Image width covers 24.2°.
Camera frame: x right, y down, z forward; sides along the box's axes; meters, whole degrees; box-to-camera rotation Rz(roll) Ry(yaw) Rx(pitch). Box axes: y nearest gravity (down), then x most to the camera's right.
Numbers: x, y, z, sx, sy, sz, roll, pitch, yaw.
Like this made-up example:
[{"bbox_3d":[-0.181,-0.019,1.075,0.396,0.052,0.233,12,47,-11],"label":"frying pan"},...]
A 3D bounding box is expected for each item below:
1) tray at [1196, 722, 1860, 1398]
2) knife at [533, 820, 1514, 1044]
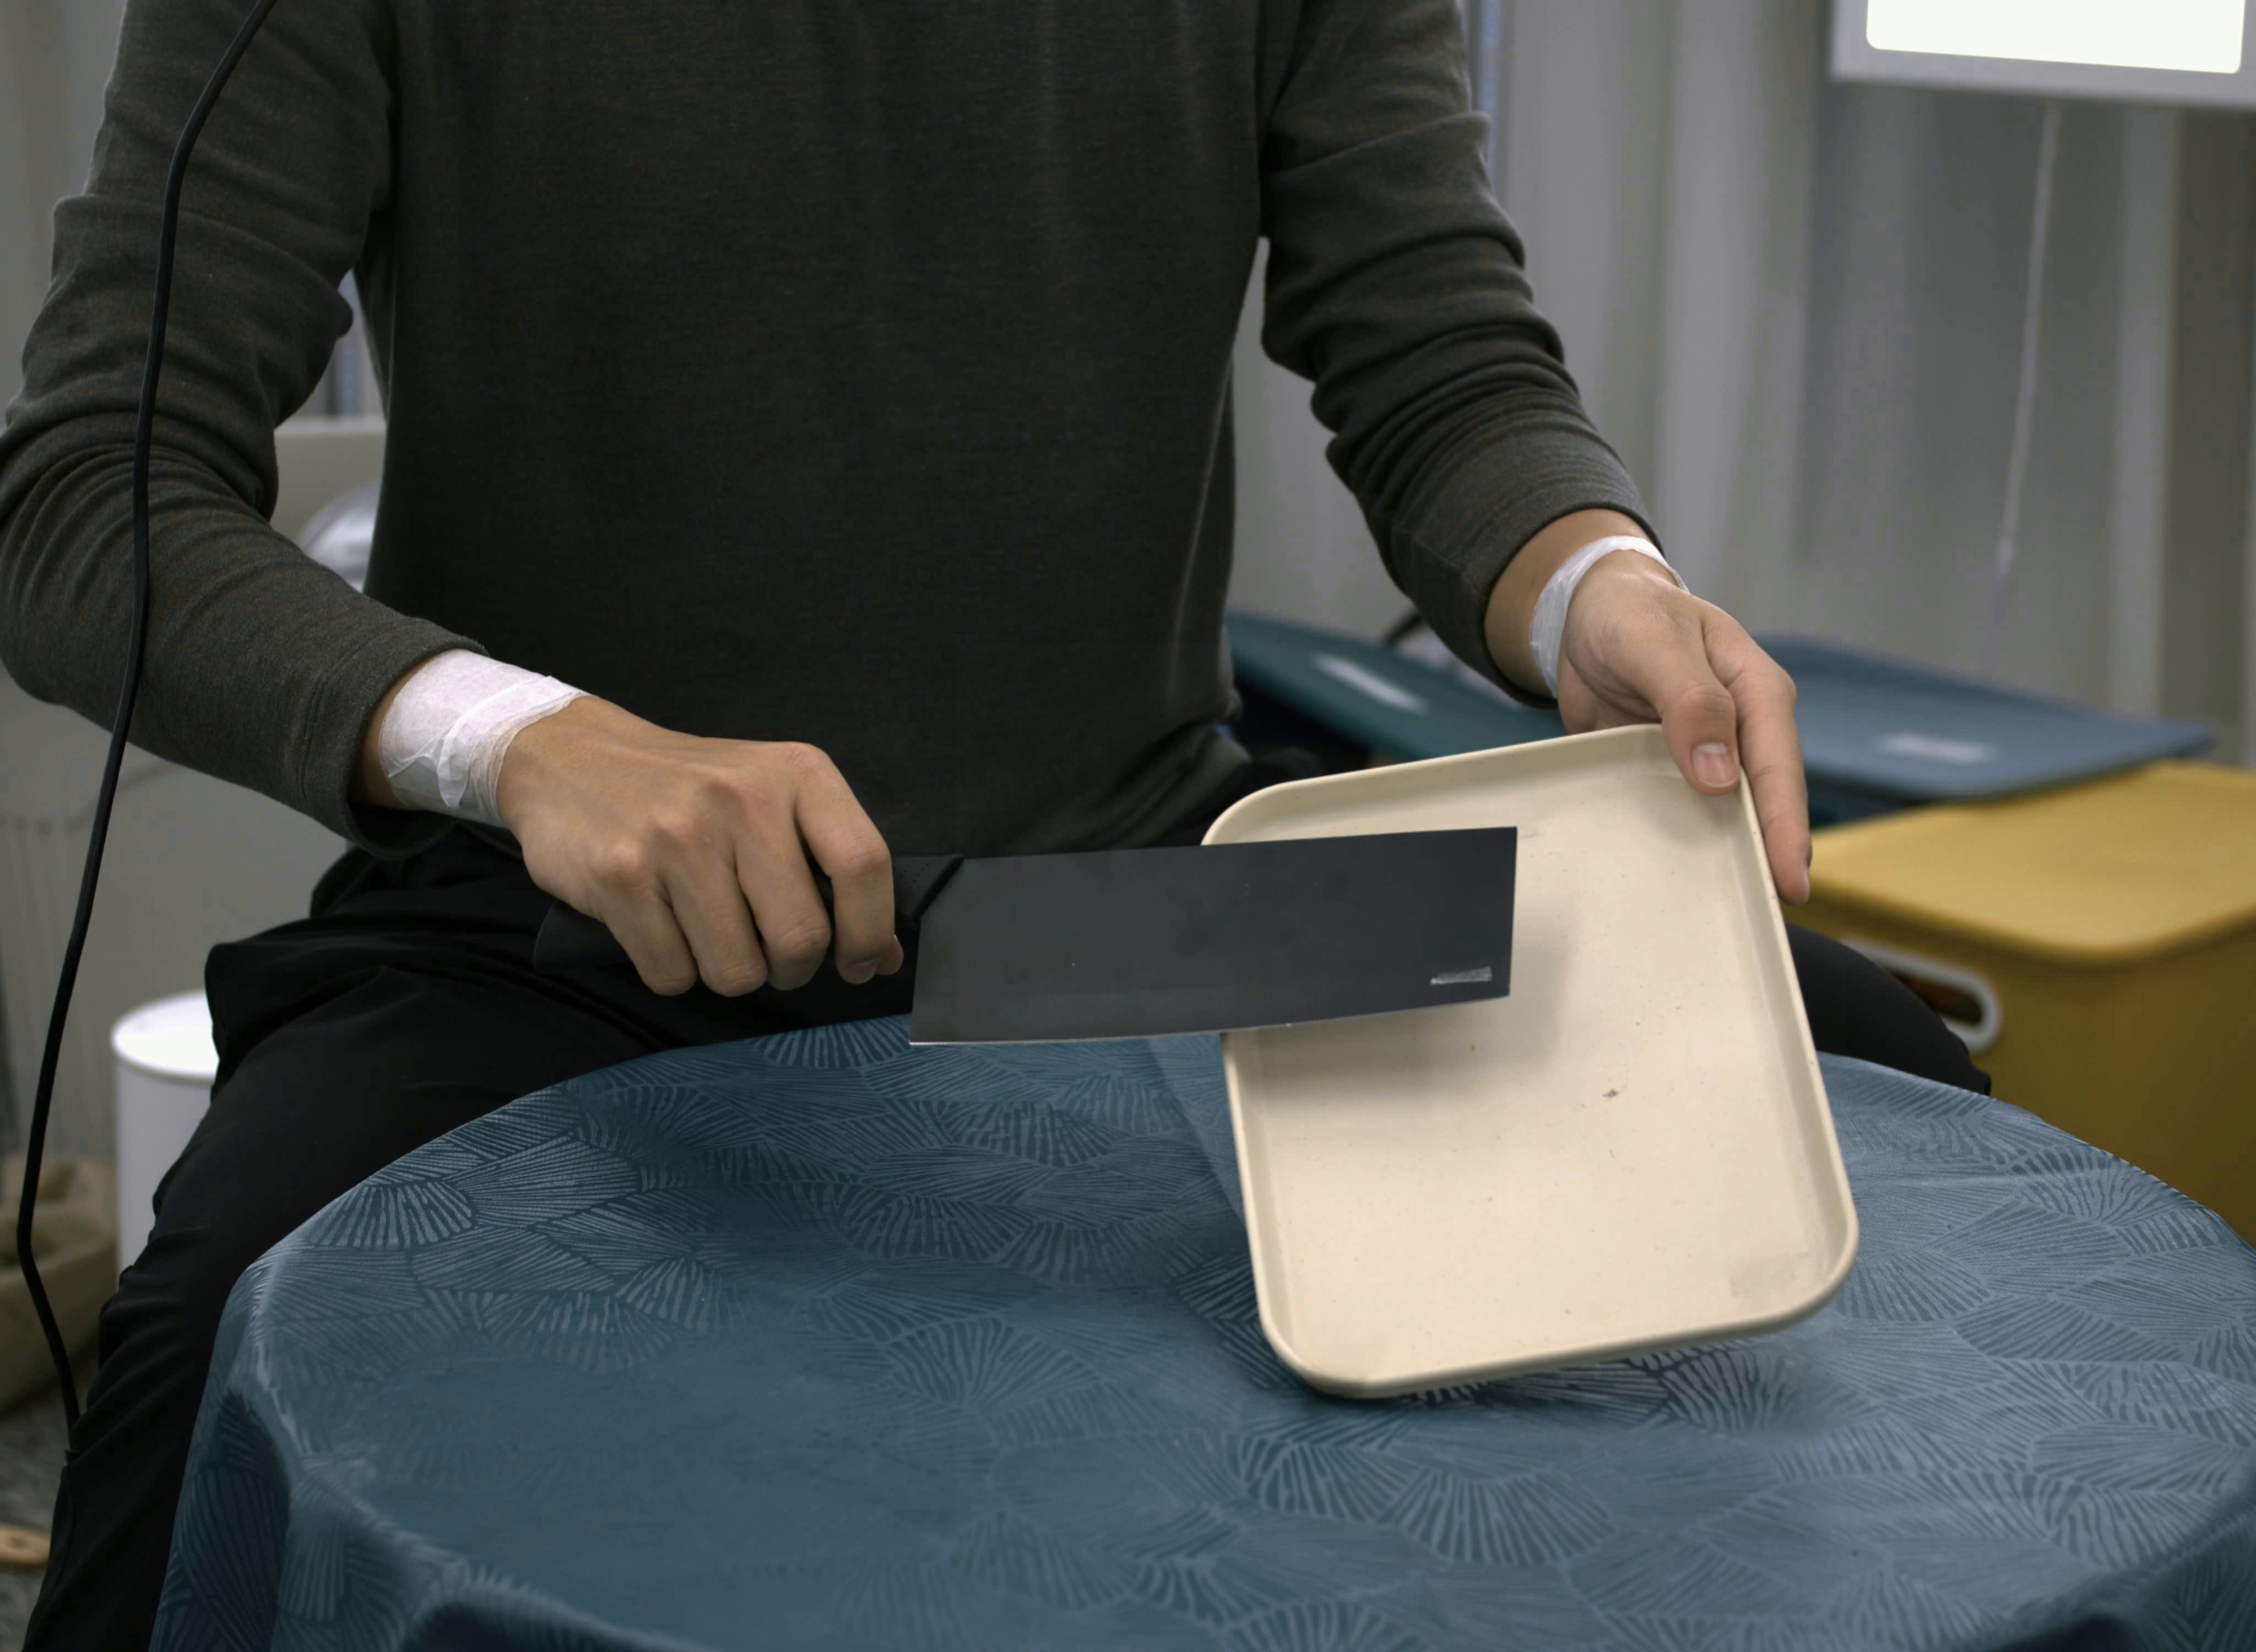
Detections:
[{"bbox_3d":[0.112,0.066,1.533,0.171,0.018,0.237,-9,46,1],"label":"tray"},{"bbox_3d":[-0.033,0.032,1.564,0.300,0.021,0.080,0,55,14],"label":"knife"}]
